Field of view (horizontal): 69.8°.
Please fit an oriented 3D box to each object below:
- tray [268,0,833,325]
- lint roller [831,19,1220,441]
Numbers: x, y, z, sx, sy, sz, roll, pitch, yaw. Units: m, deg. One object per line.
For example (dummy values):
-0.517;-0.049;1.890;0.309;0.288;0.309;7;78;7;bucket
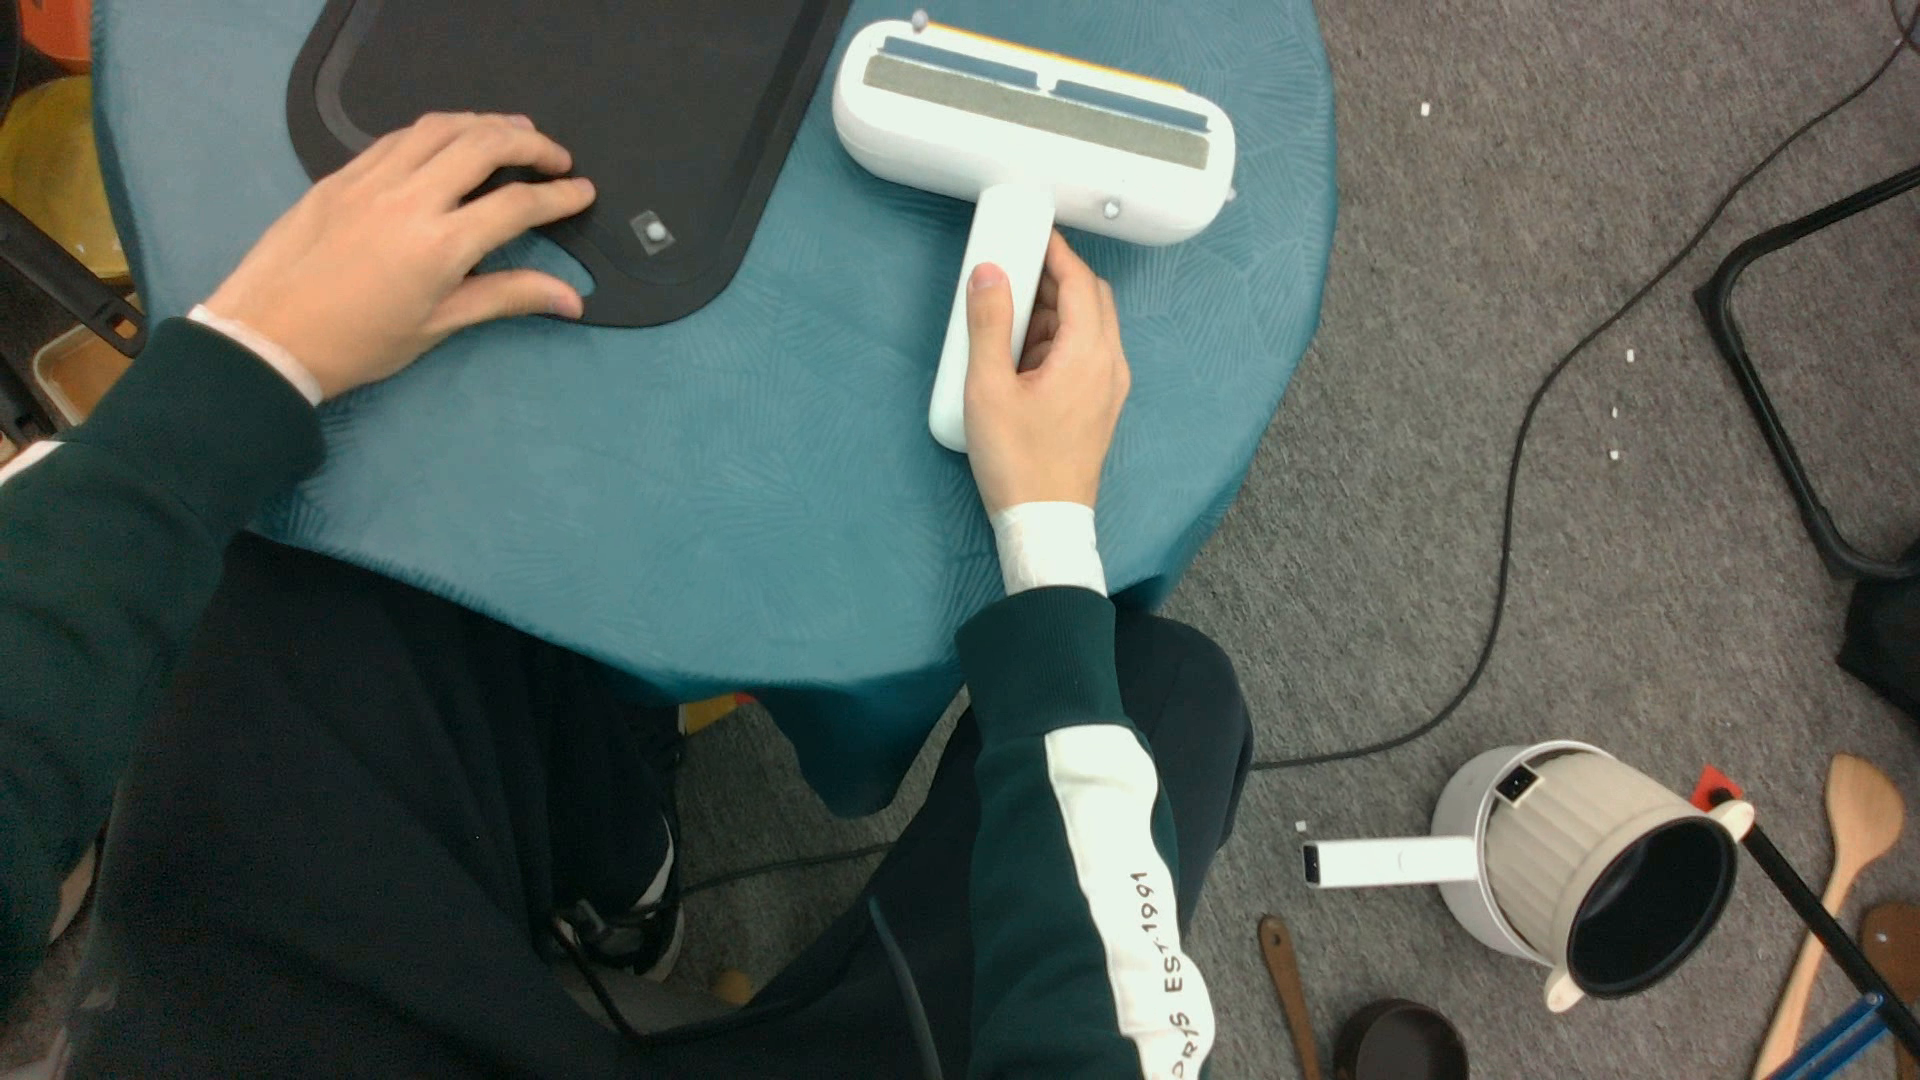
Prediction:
-0.176;-0.260;0.657;0.211;0.010;0.326;23;75;-12;tray
0.012;-0.142;0.681;0.193;0.074;0.192;19;91;-4;lint roller
